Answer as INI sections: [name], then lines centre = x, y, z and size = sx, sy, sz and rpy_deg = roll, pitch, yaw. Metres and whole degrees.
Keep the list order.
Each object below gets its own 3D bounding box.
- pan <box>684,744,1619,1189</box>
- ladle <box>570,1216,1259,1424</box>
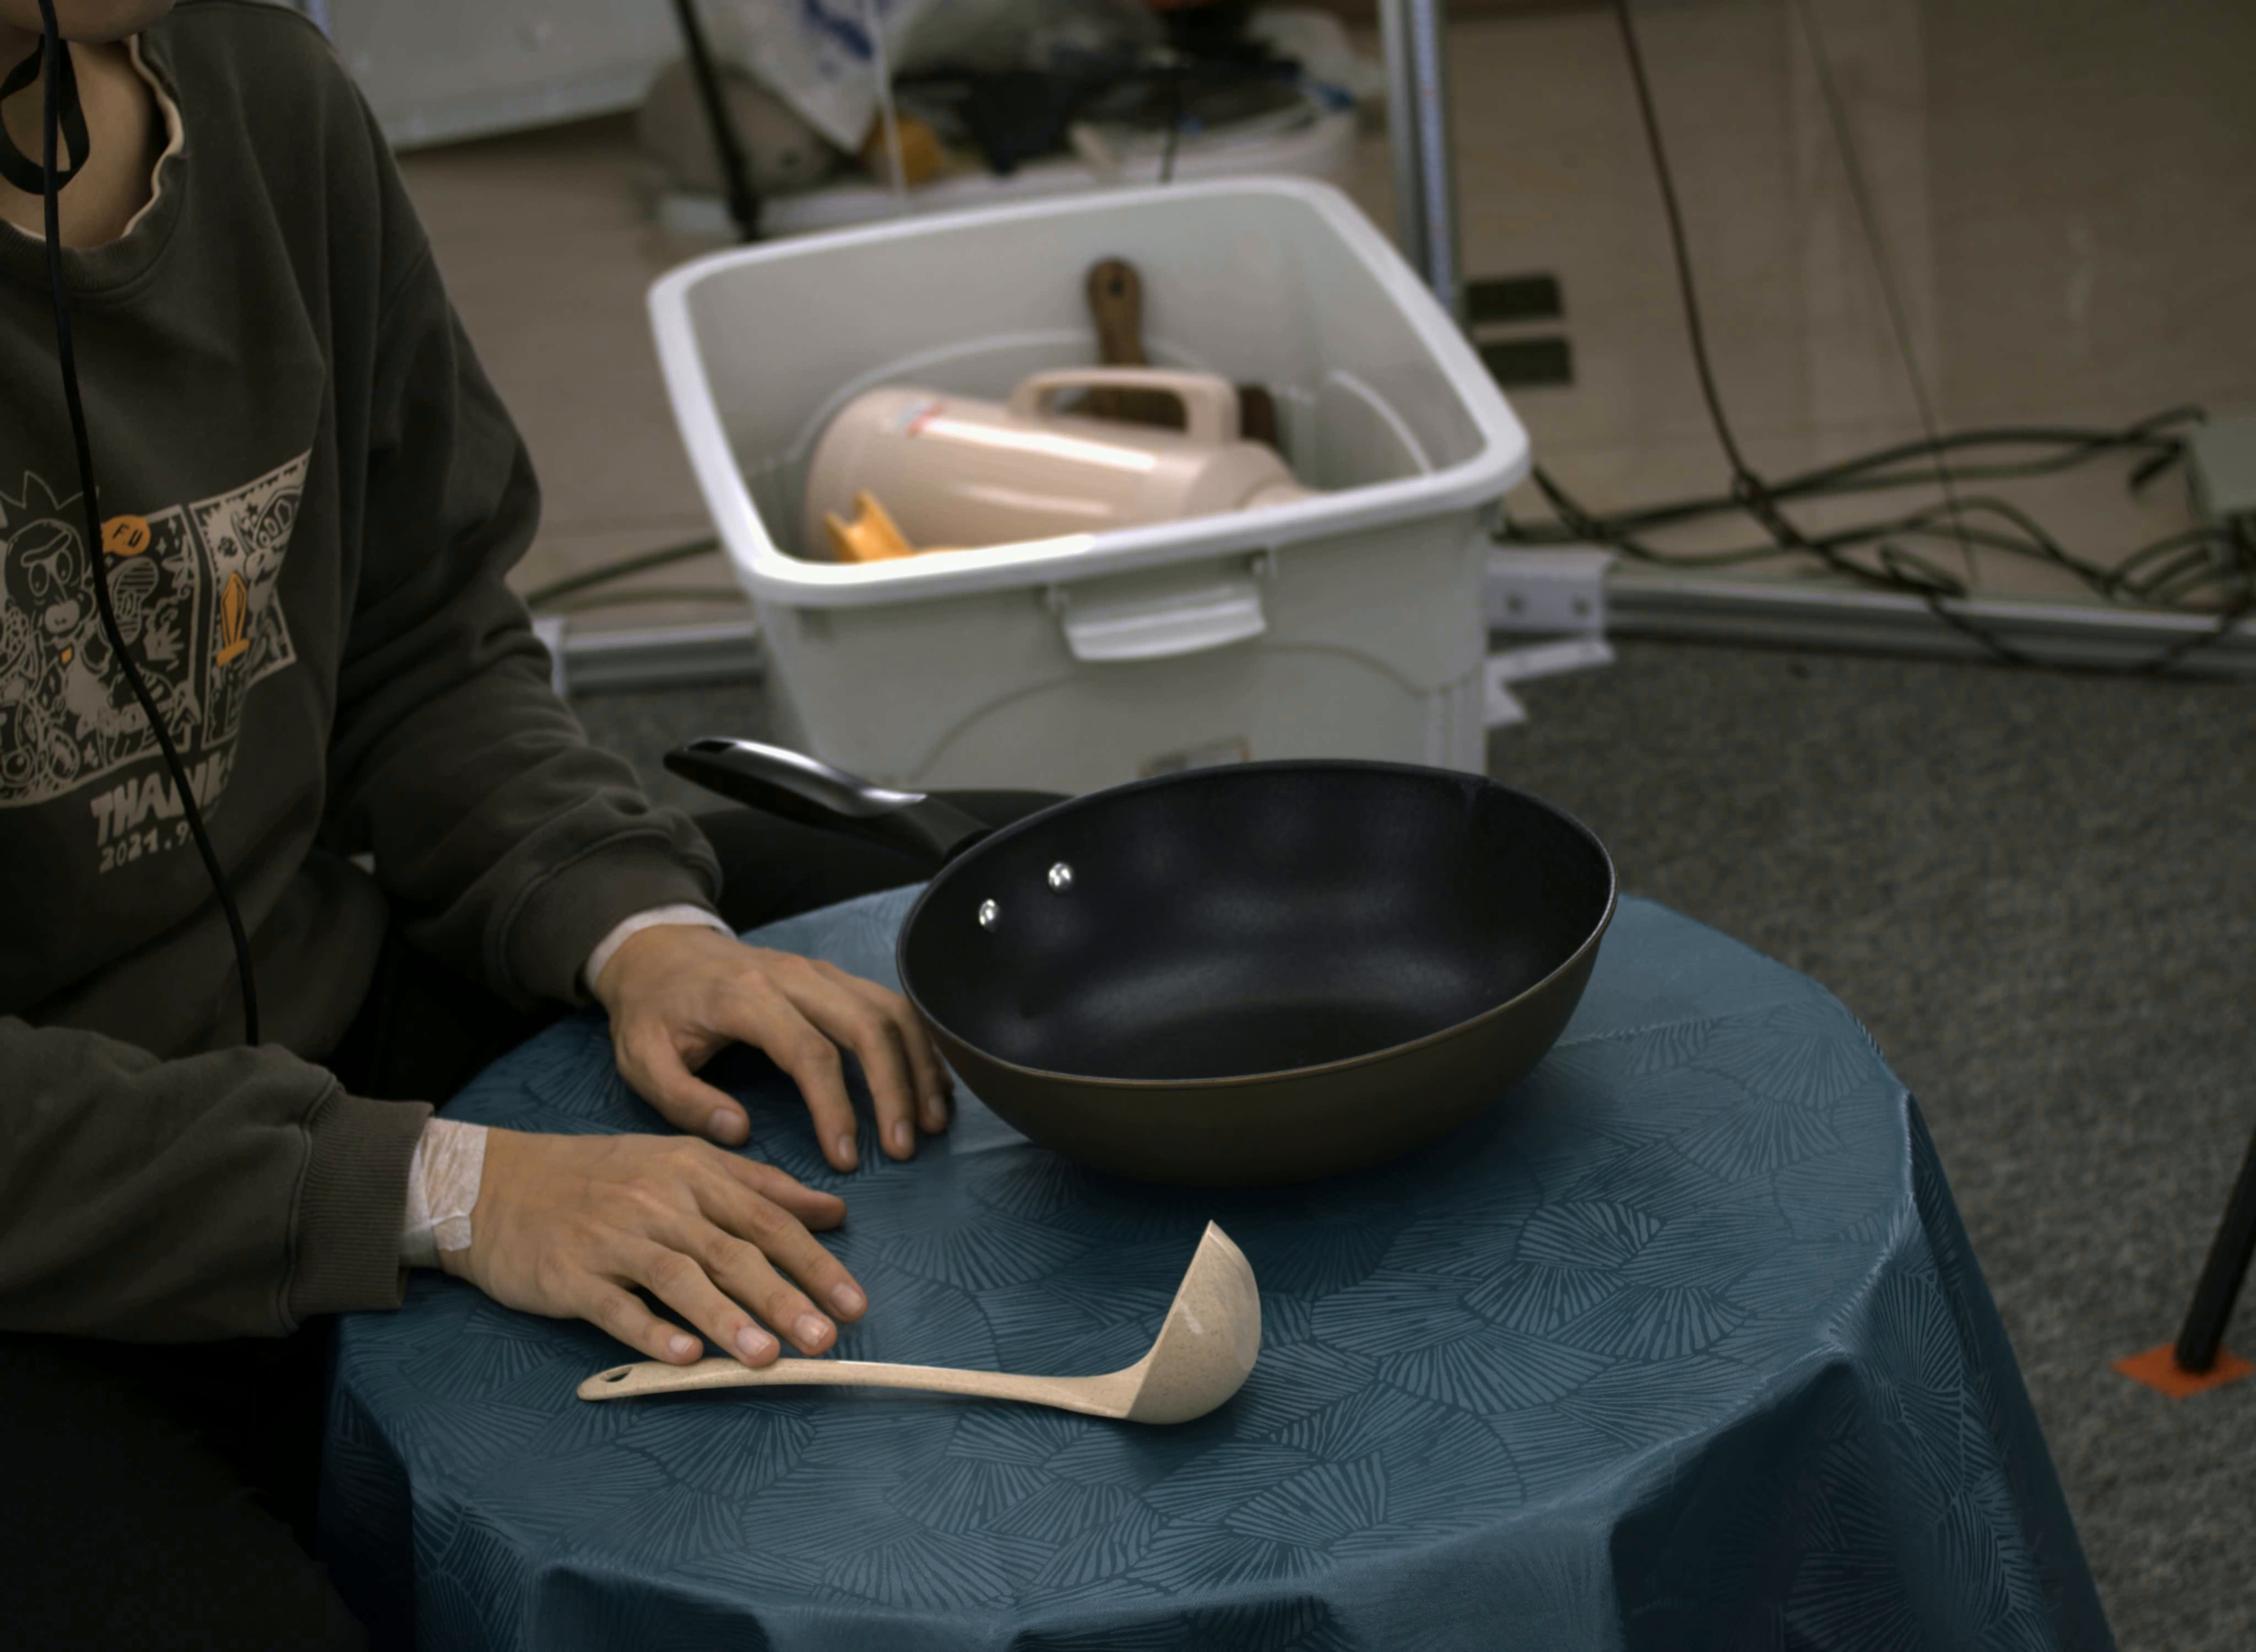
[pan]
centre = -0.014, 0.049, 2.245
size = 0.460, 0.088, 0.285
rpy_deg = 15, 33, 41
[ladle]
centre = -0.081, 0.174, 2.005
size = 0.254, 0.074, 0.071
rpy_deg = -1, 31, 12
